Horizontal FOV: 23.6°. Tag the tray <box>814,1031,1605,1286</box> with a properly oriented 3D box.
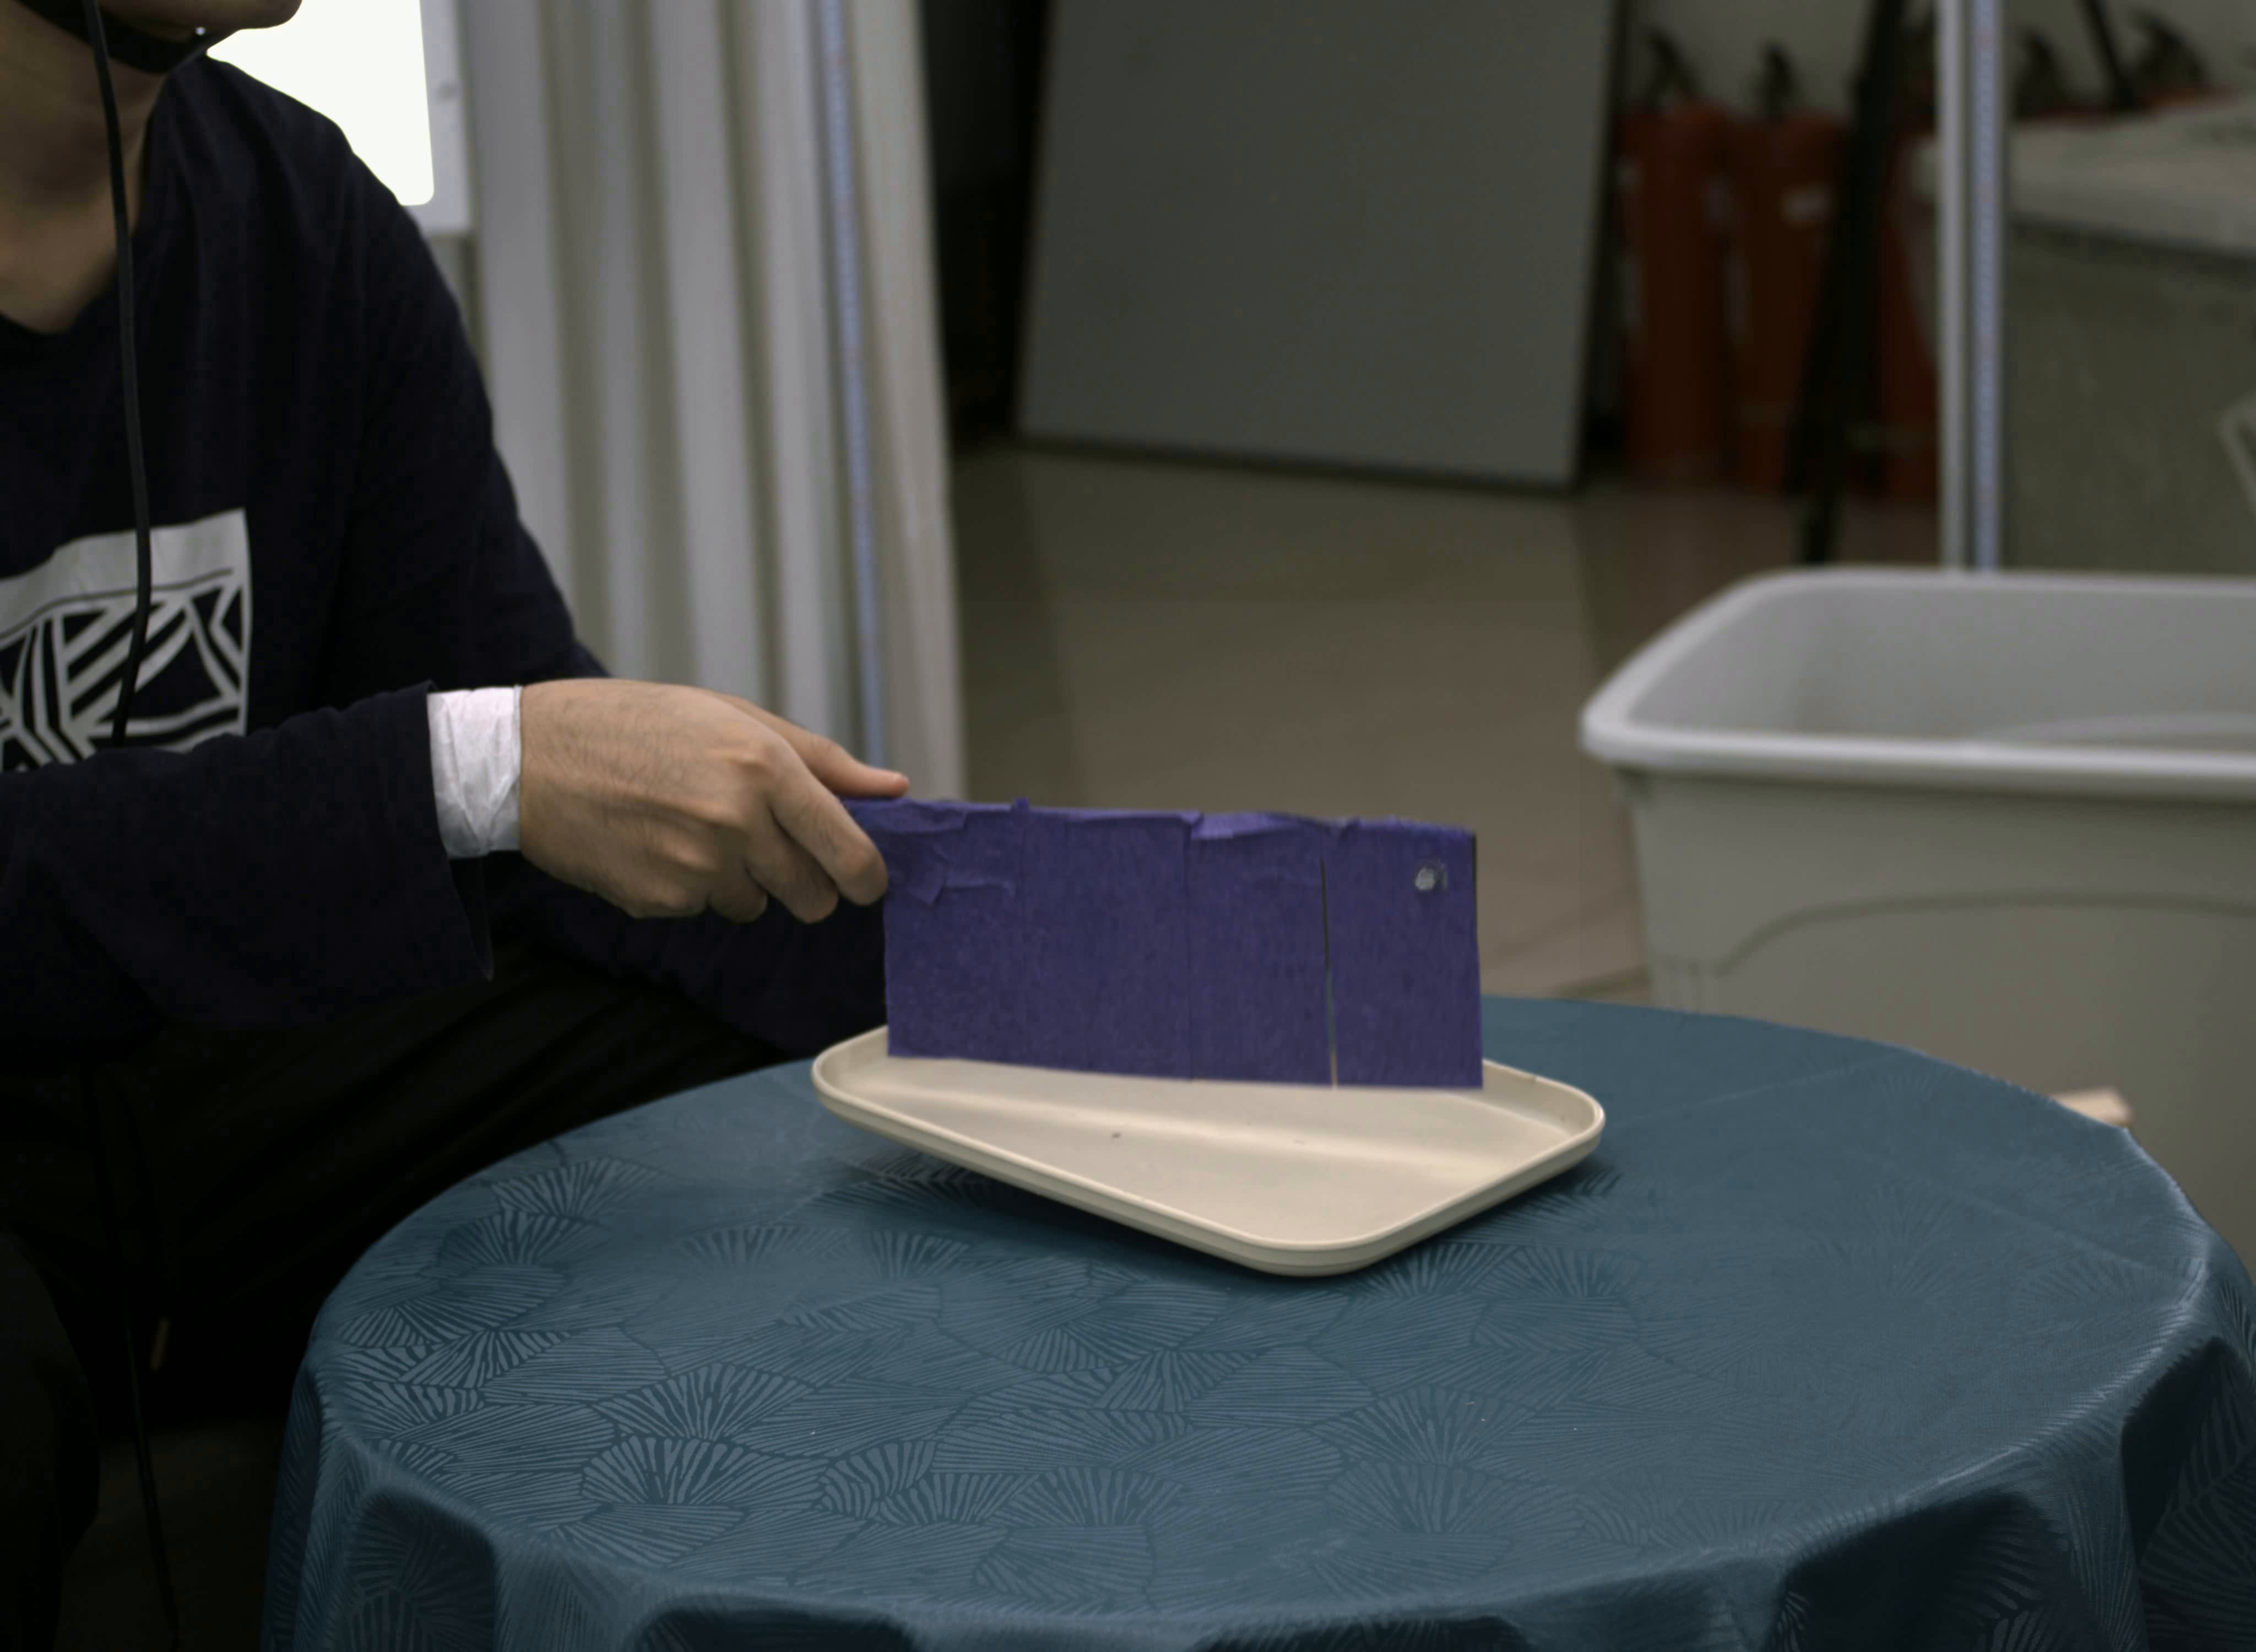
[{"bbox_3d":[0.026,0.096,1.784,0.242,0.017,0.168,16,26,40],"label":"tray"}]

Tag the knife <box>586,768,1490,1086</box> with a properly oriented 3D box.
[{"bbox_3d":[-0.033,0.032,1.782,0.315,0.105,0.032,1,9,22],"label":"knife"}]
